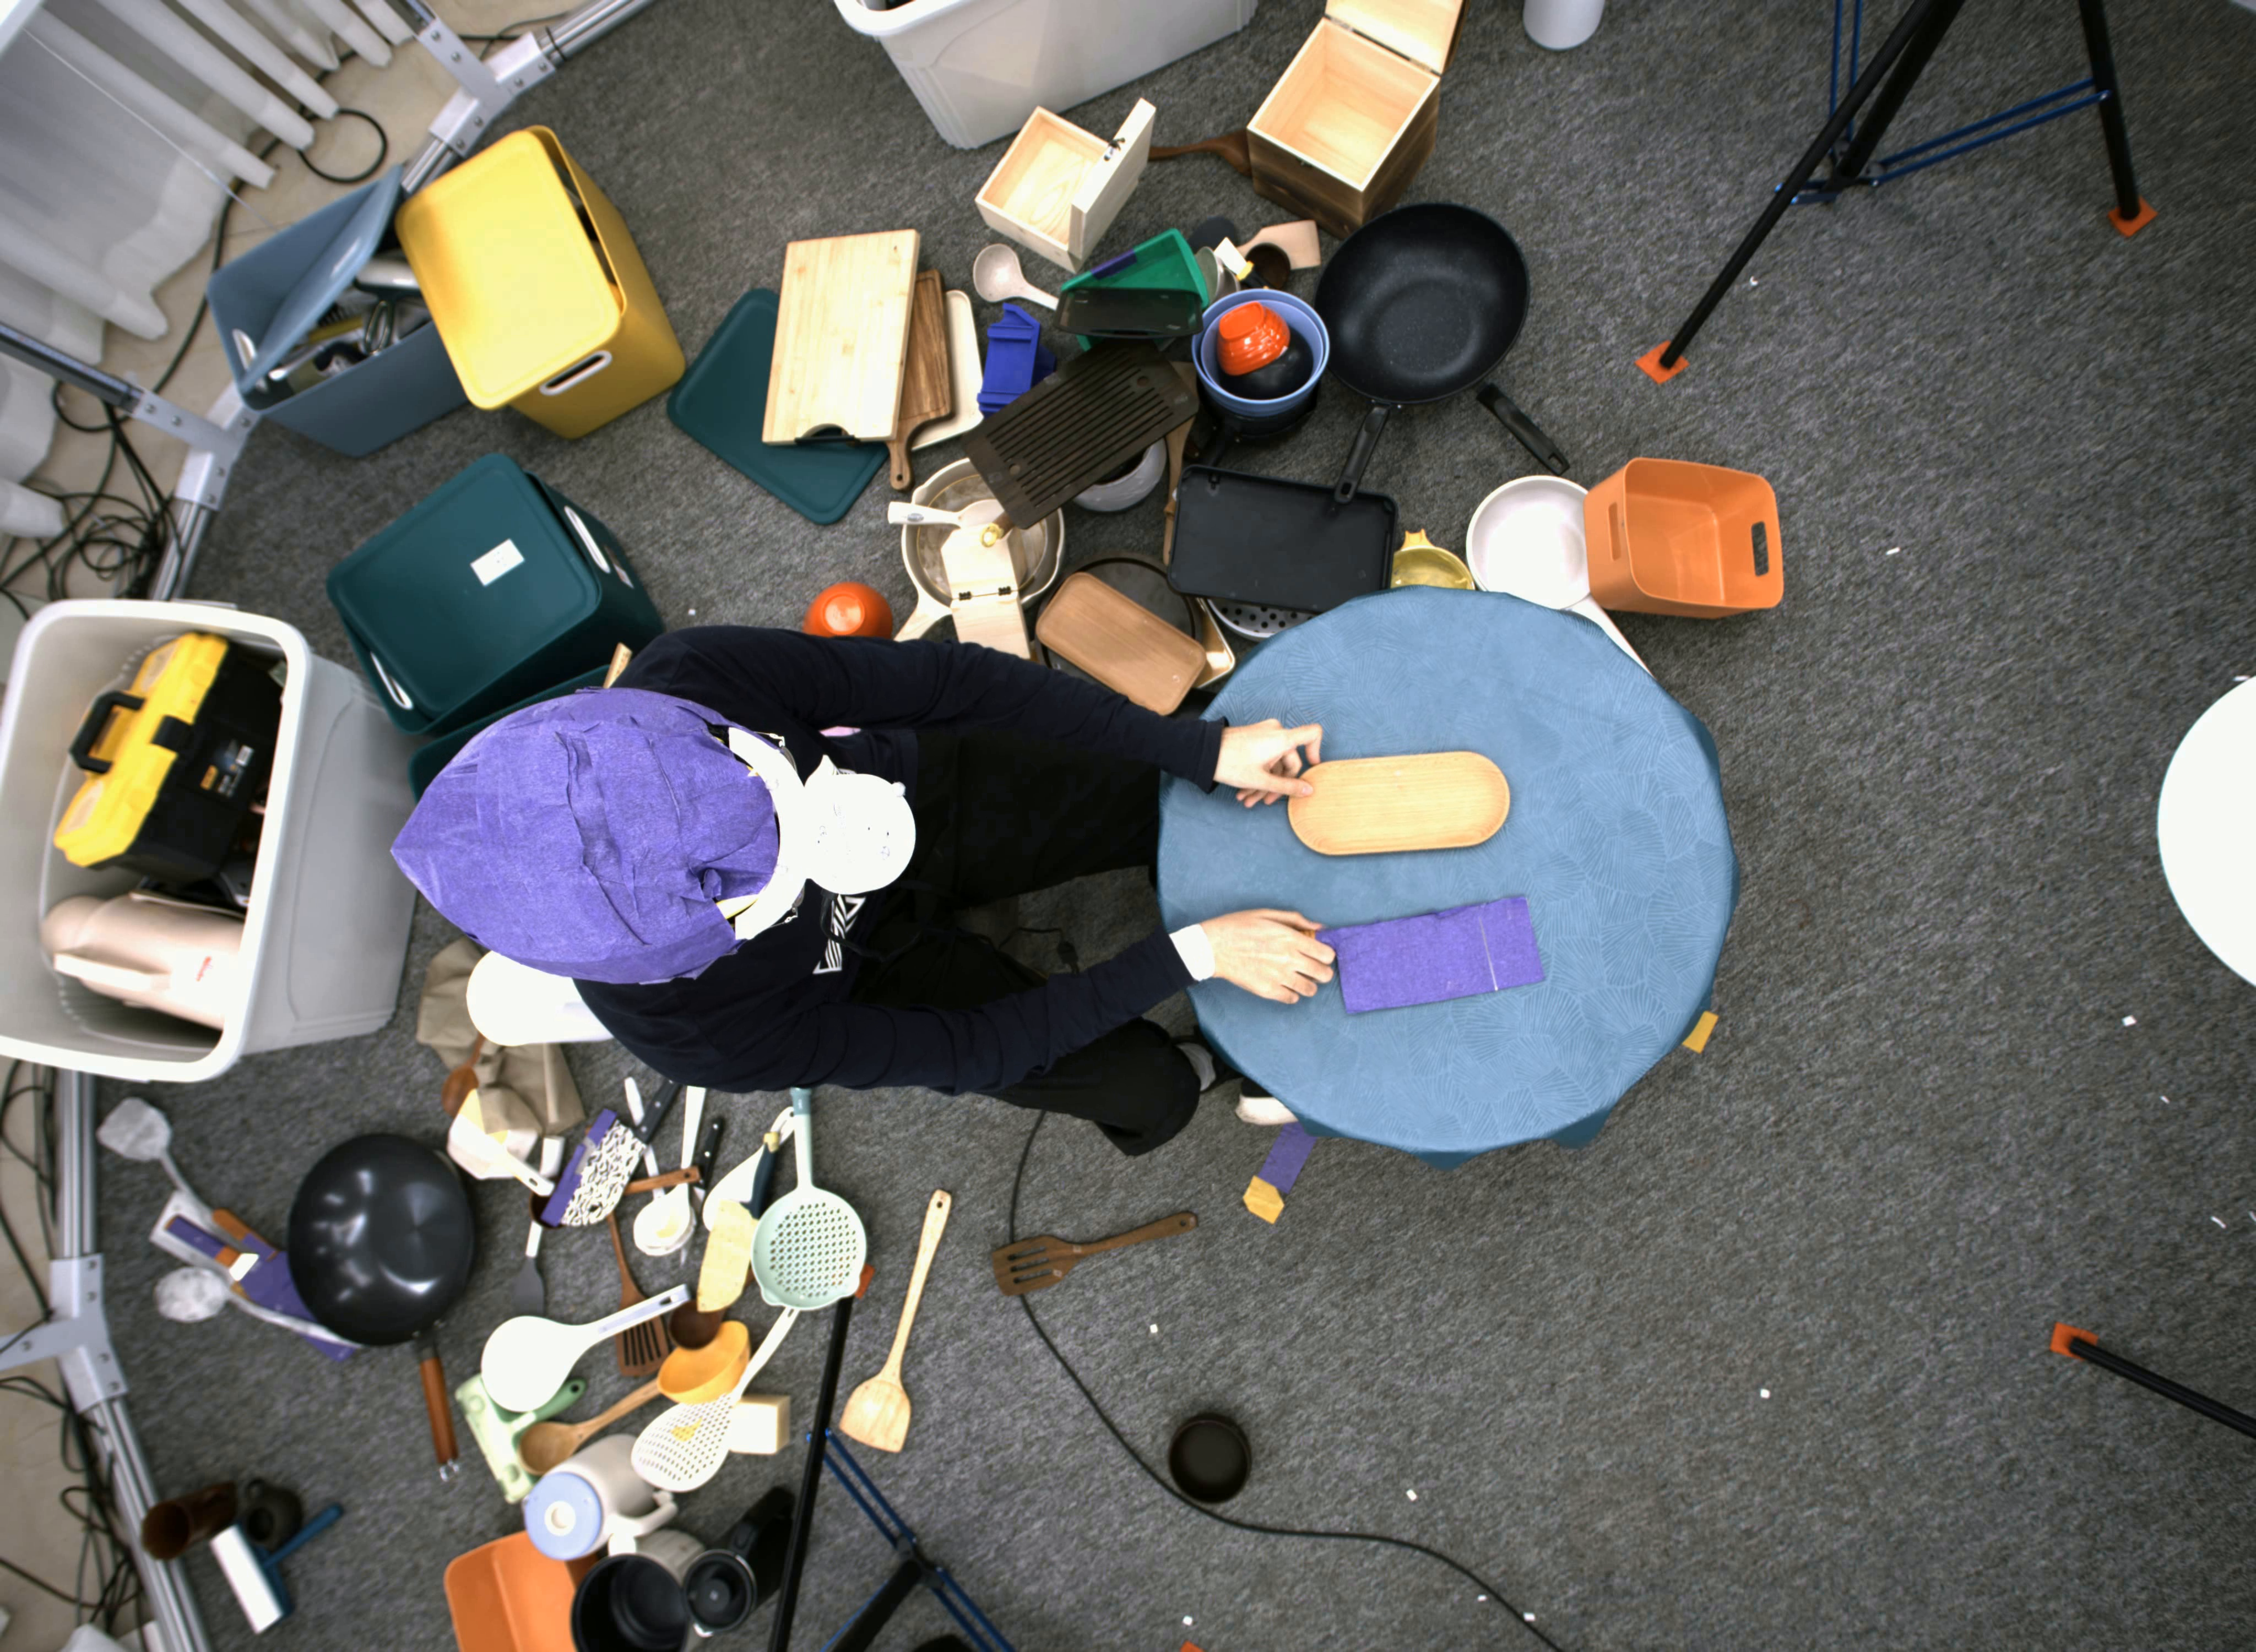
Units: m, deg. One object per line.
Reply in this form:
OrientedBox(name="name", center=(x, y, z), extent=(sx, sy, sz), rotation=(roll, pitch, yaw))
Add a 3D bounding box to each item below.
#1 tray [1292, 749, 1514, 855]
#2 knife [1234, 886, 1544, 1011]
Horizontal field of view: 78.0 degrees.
OrientedBox(name="tray", center=(0.289, -0.026, 1.454), extent=(0.232, 0.020, 0.101), rotation=(-5, 87, 9))
OrientedBox(name="knife", center=(0.272, 0.140, 1.442), extent=(0.317, 0.032, 0.103), rotation=(-12, 85, 9))
